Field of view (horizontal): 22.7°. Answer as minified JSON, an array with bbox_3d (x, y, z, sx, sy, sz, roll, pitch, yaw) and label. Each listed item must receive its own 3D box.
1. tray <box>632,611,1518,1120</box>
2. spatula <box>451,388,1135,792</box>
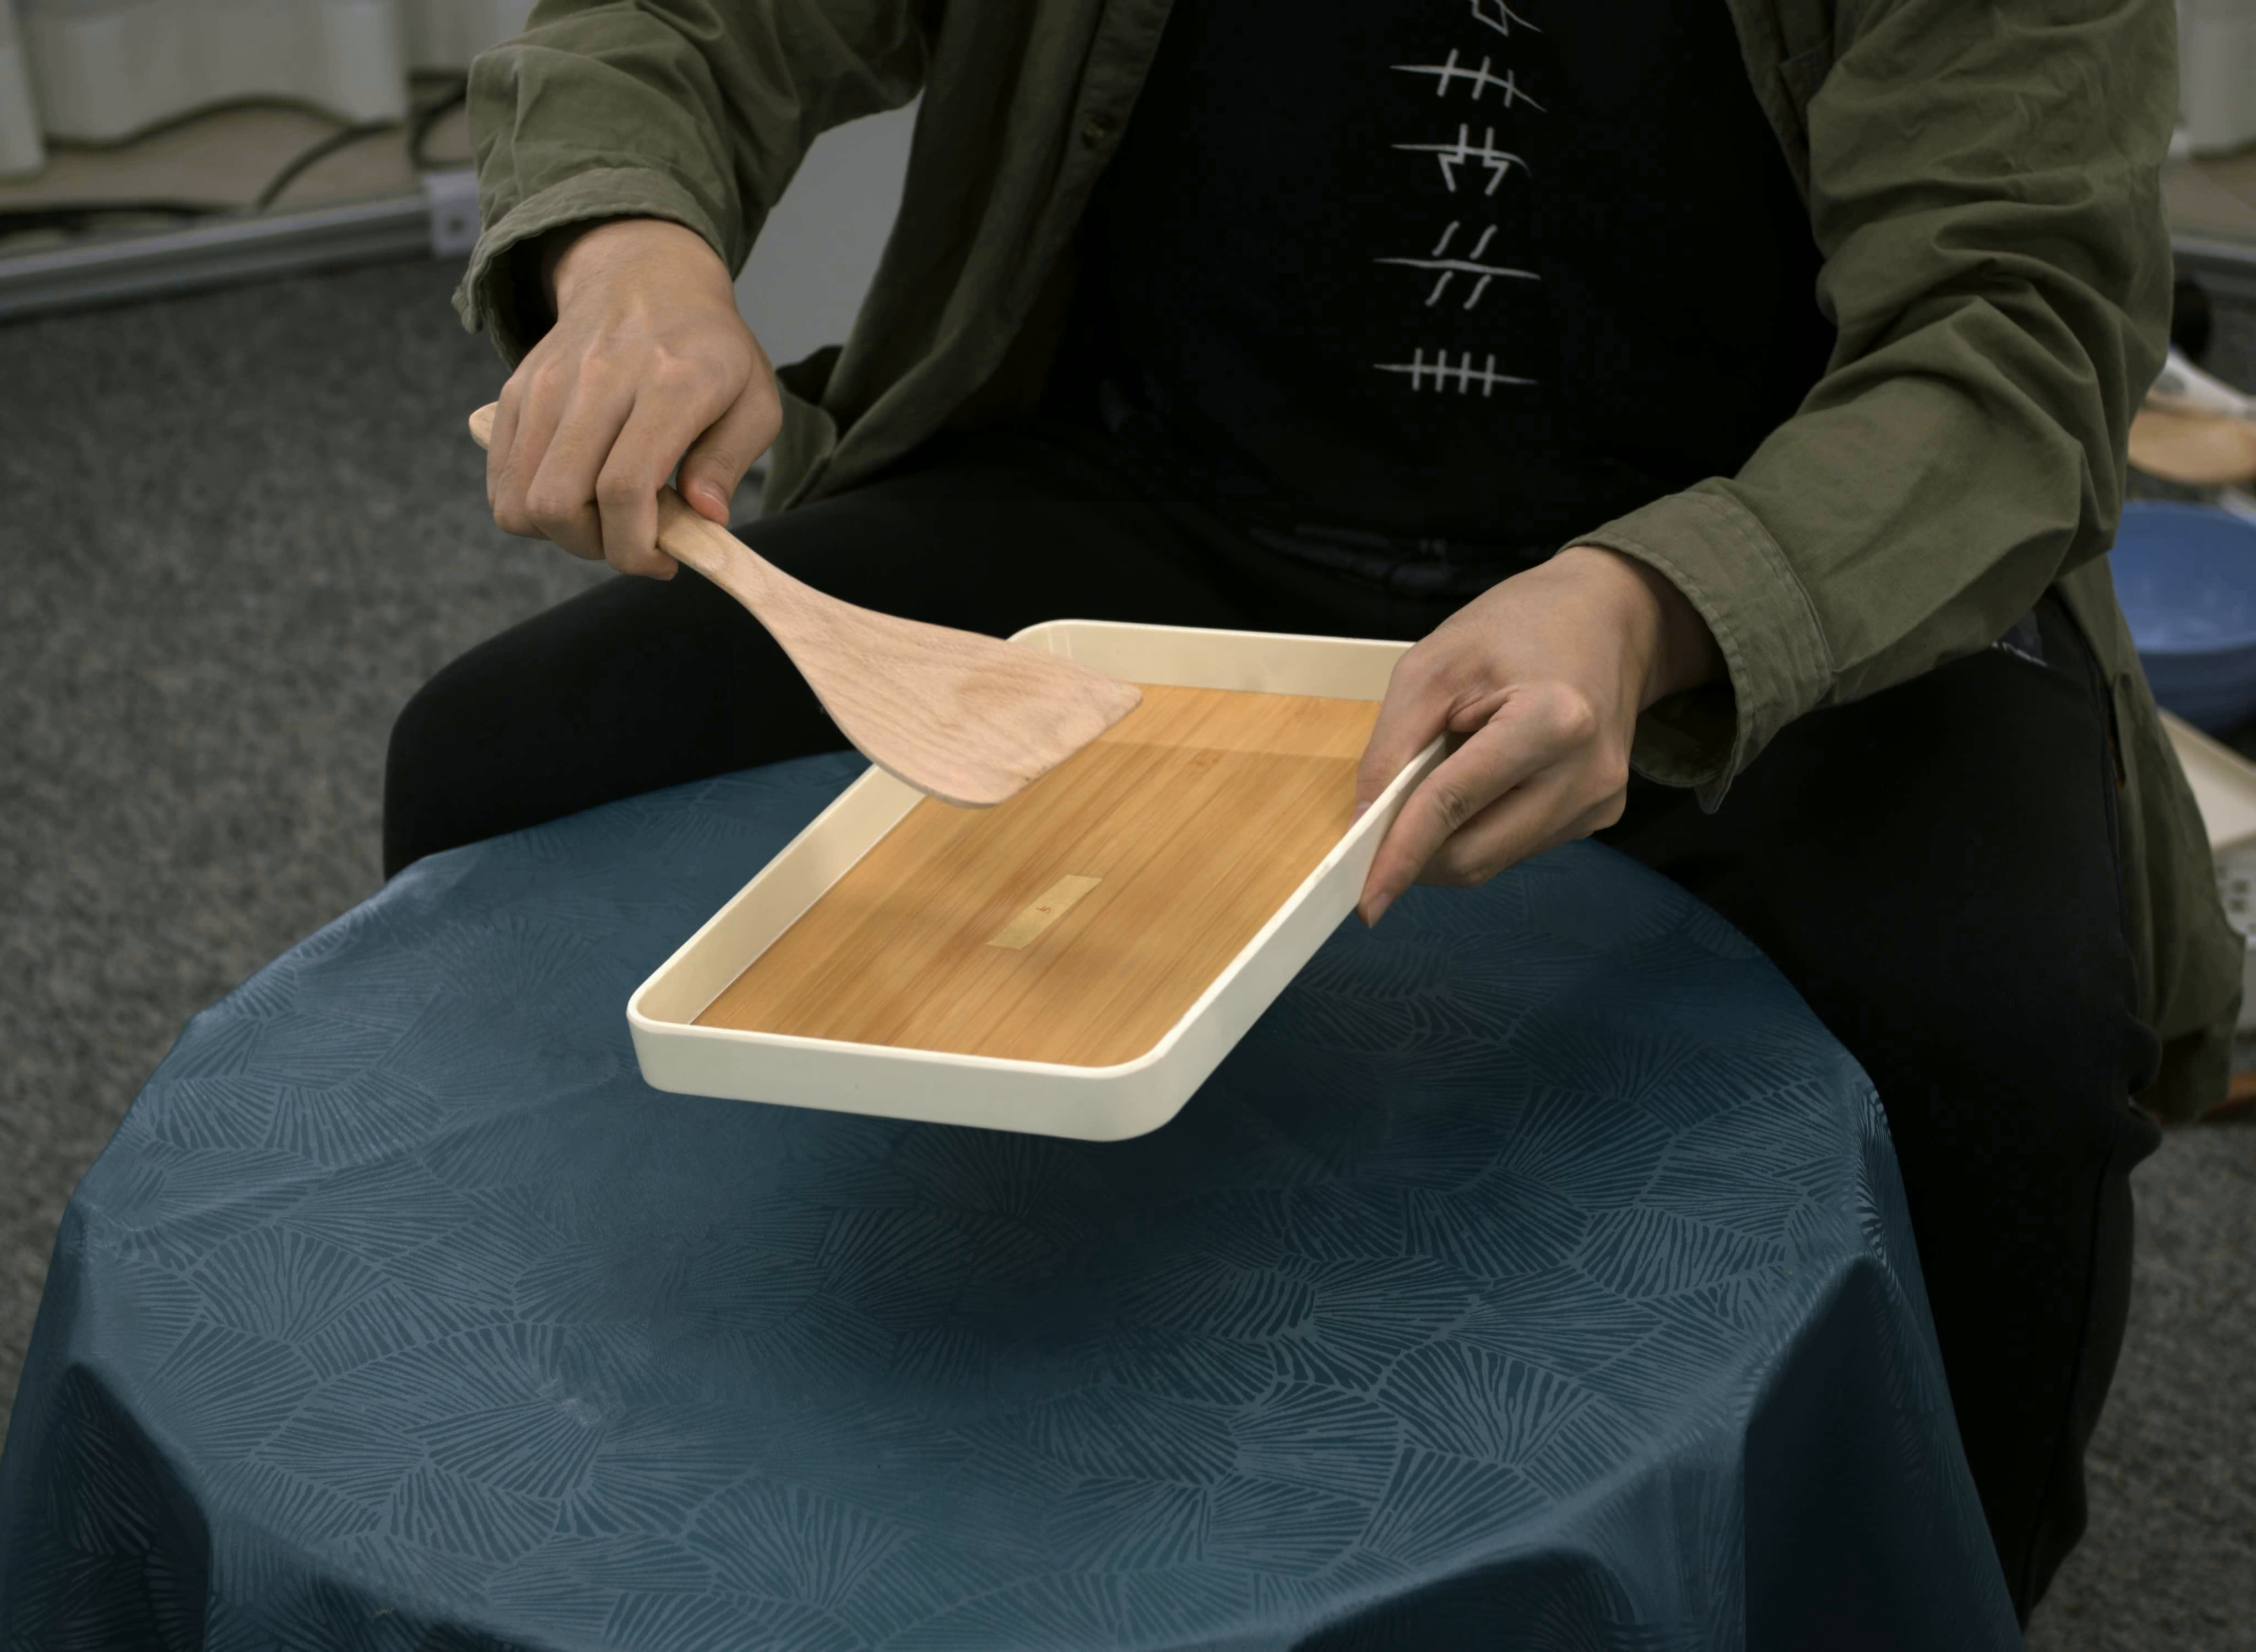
[{"bbox_3d":[-0.011,0.007,1.841,0.190,0.027,0.305,6,28,27],"label":"tray"},{"bbox_3d":[-0.121,-0.085,1.826,0.081,0.016,0.328,-29,41,-30],"label":"spatula"}]
